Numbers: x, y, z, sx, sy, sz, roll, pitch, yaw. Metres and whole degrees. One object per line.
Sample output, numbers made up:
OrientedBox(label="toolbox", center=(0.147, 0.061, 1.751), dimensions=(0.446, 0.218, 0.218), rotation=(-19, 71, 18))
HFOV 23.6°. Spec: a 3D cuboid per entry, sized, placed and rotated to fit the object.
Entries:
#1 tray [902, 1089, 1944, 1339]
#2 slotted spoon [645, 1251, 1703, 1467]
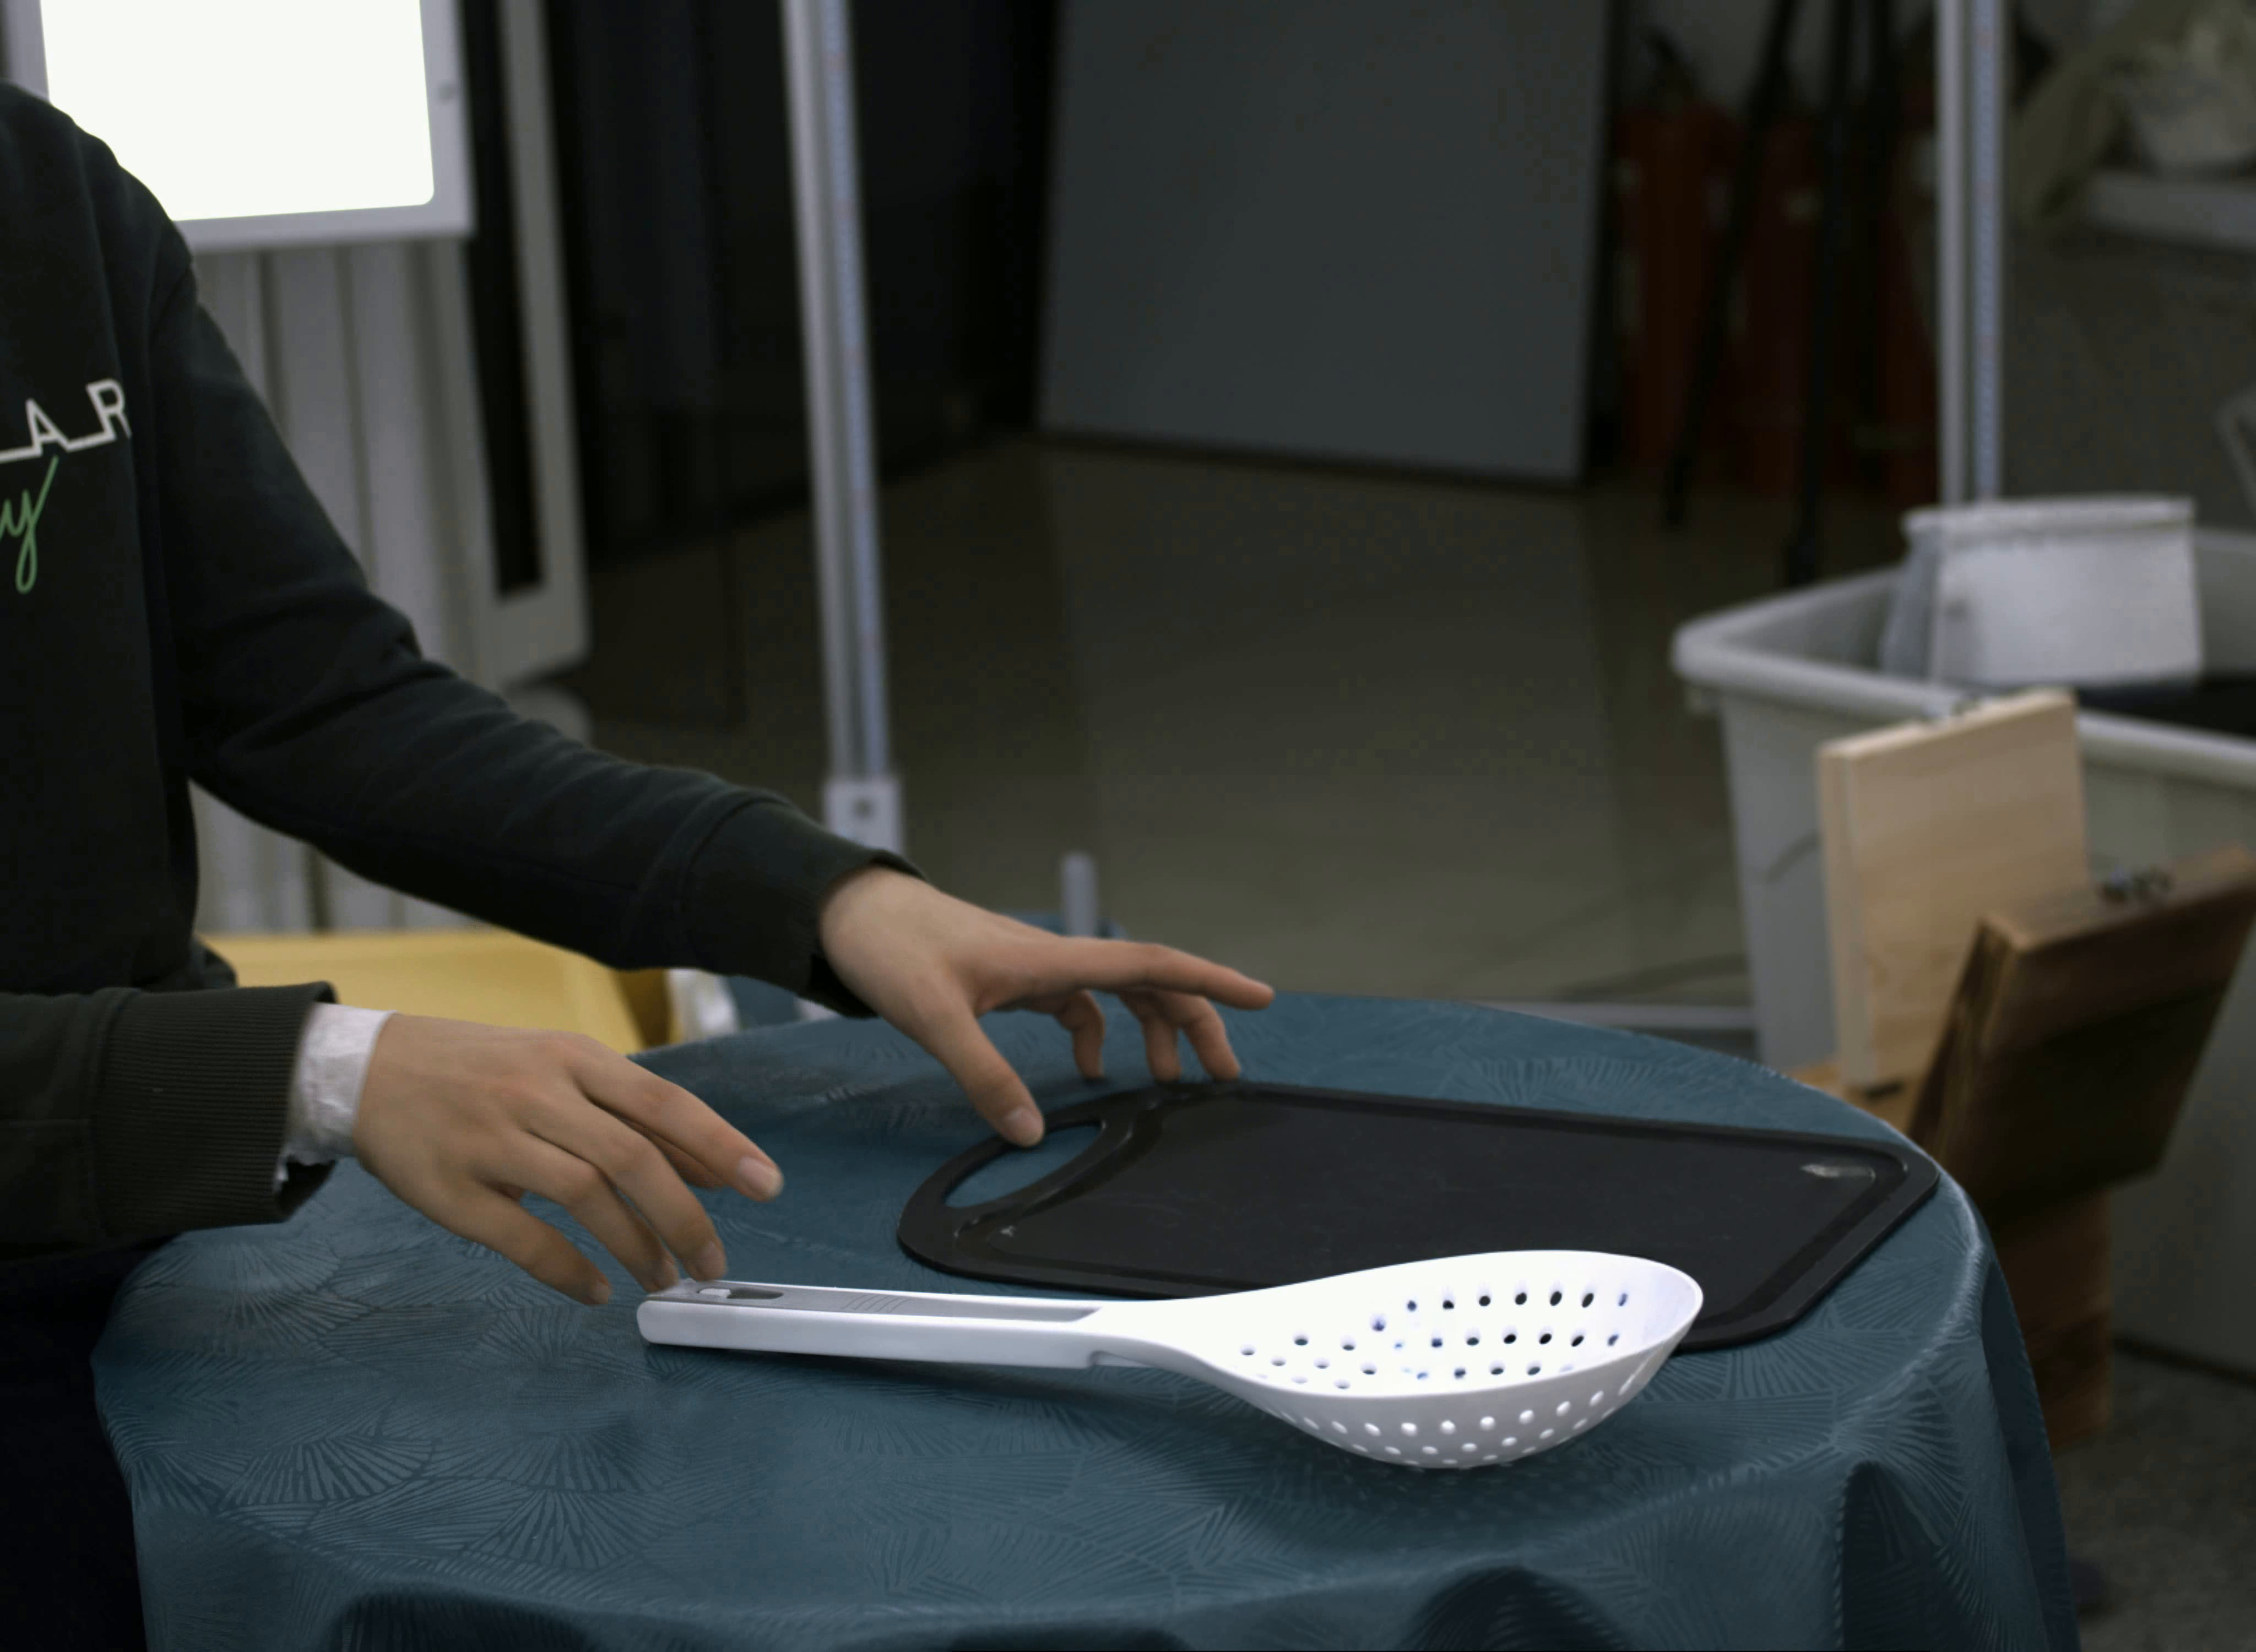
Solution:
OrientedBox(label="tray", center=(0.088, 0.121, 1.733), dimensions=(0.326, 0.010, 0.208), rotation=(3, 15, 29))
OrientedBox(label="slotted spoon", center=(0.004, 0.148, 1.568), dimensions=(0.351, 0.046, 0.134), rotation=(4, 14, 32))
